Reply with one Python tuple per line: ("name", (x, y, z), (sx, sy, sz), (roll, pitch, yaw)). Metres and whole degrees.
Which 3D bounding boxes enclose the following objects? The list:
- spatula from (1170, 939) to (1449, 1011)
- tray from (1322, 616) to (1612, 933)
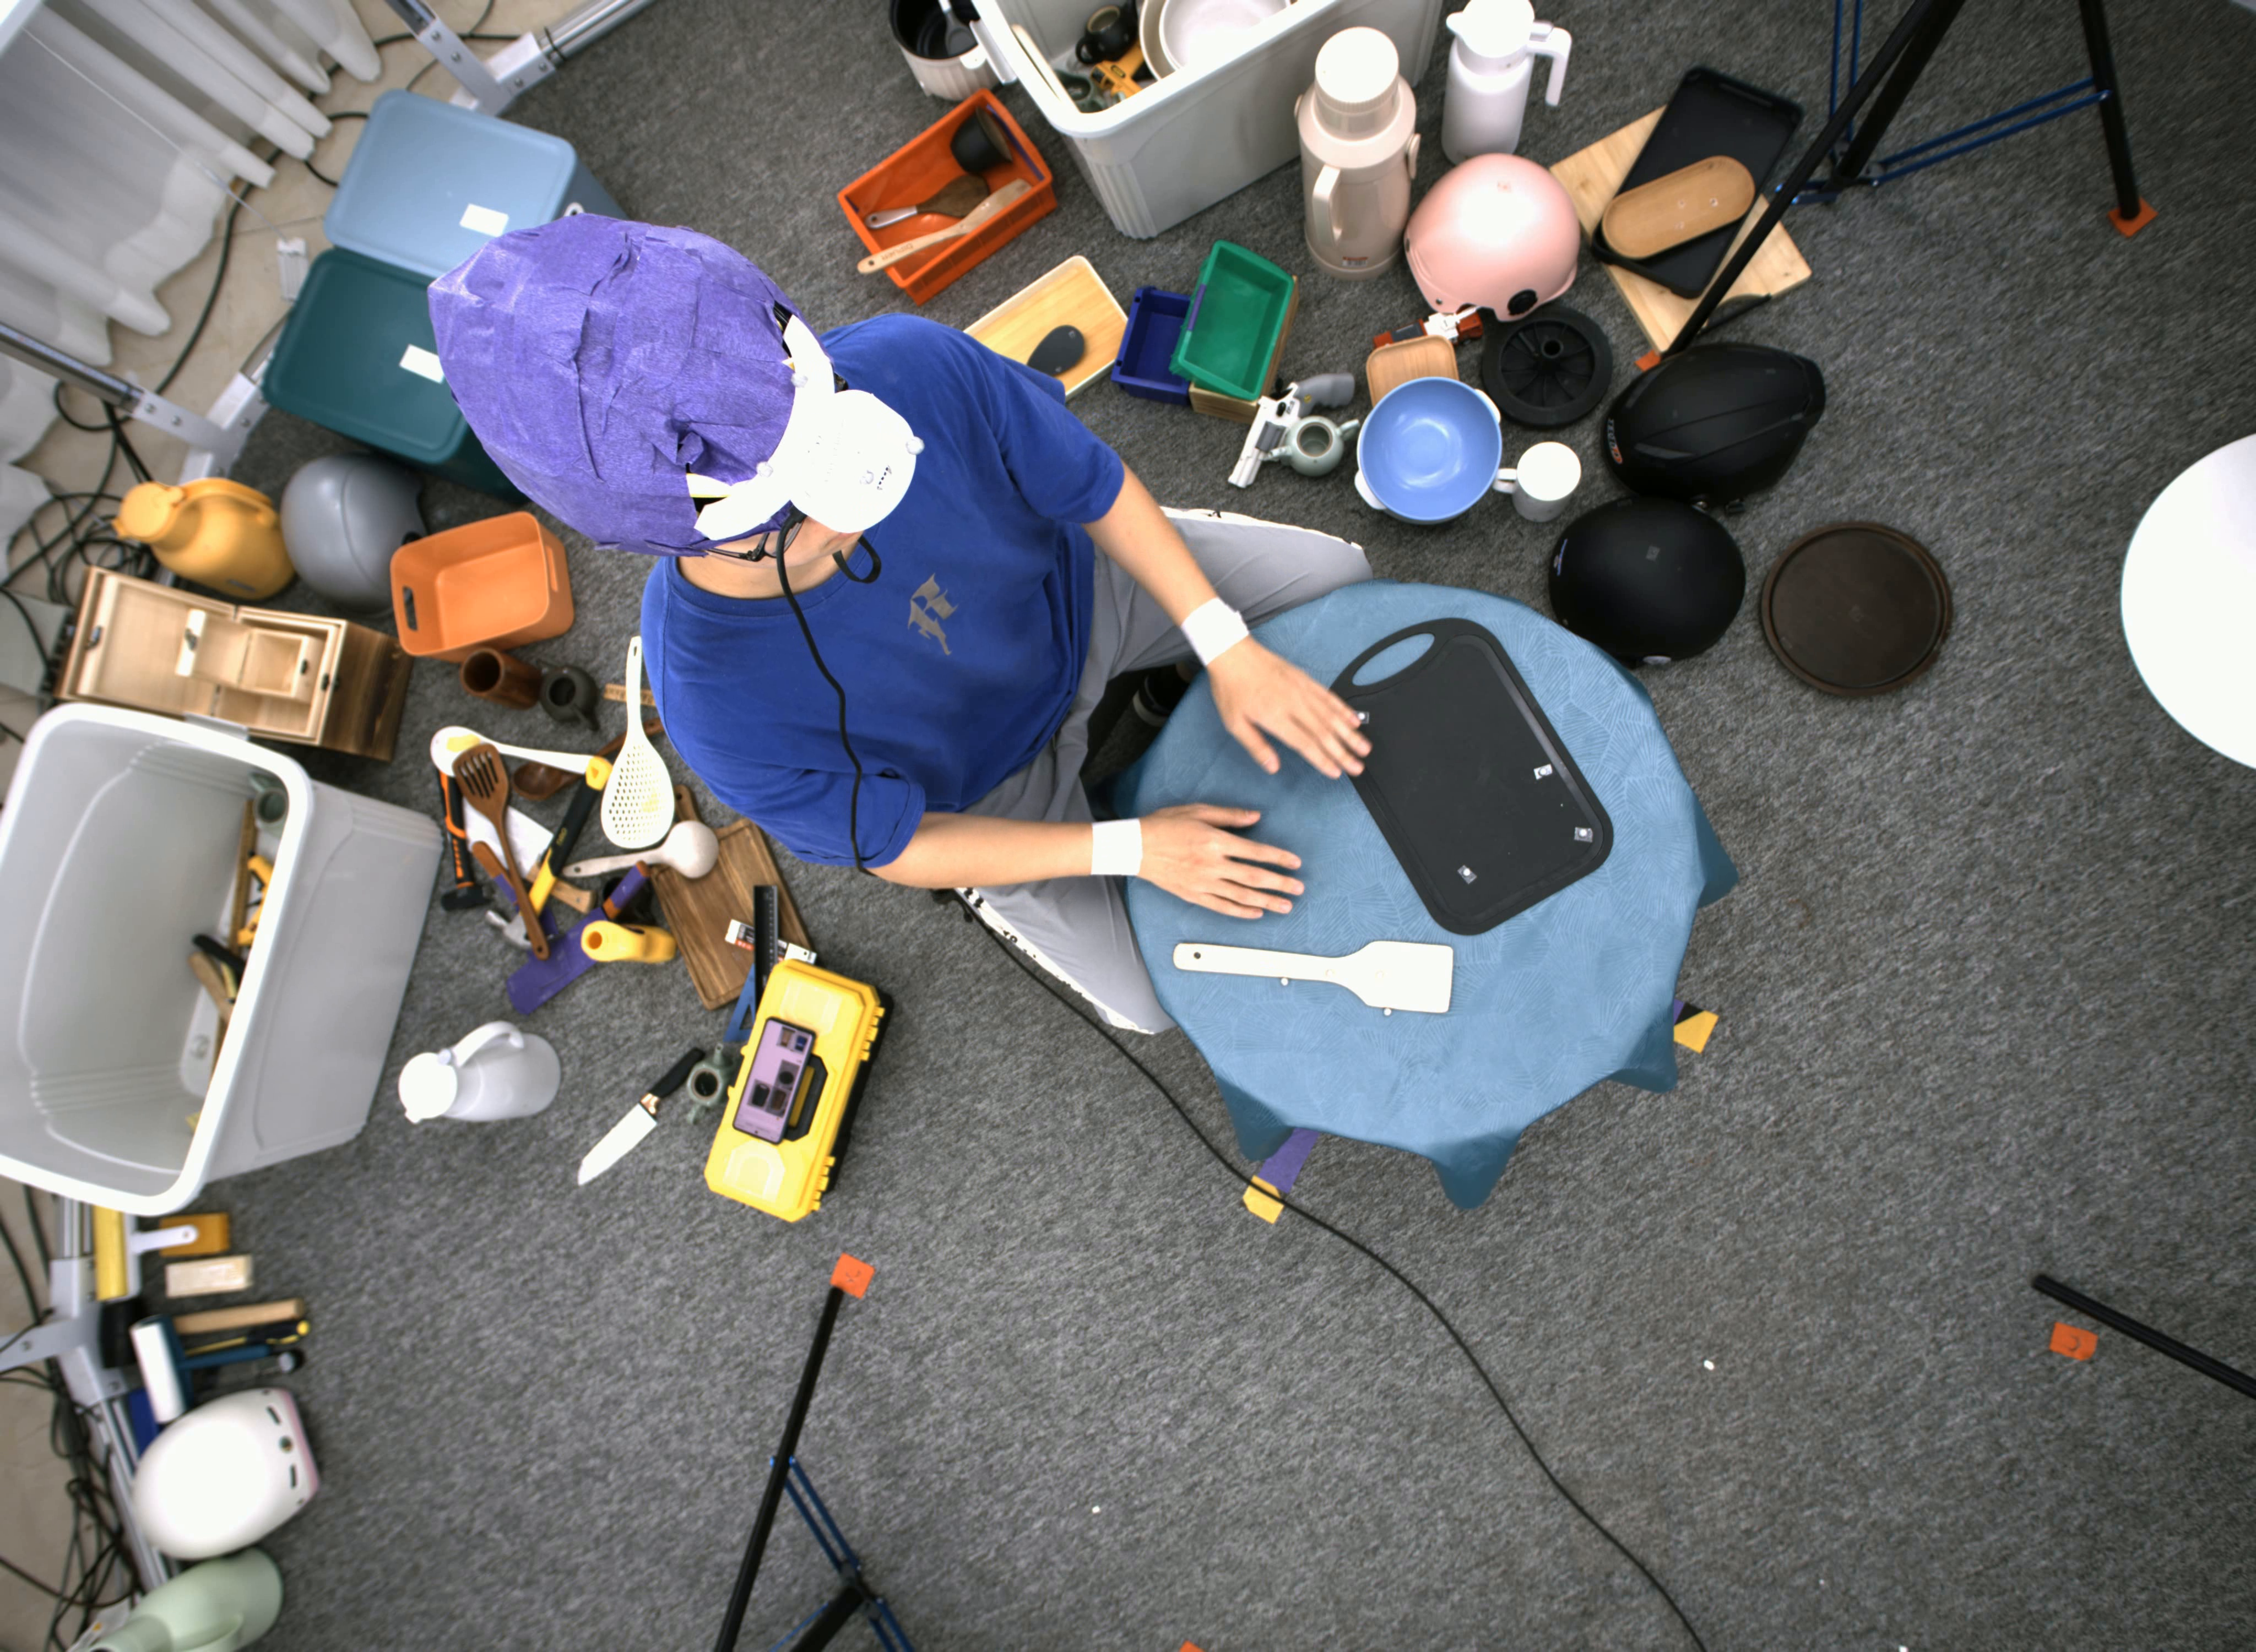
("spatula", (0.189, 0.147, 1.465), (0.294, 0.010, 0.072), (4, 89, 11))
("tray", (0.350, -0.064, 1.447), (0.212, 0.010, 0.323), (-30, 82, 8))
